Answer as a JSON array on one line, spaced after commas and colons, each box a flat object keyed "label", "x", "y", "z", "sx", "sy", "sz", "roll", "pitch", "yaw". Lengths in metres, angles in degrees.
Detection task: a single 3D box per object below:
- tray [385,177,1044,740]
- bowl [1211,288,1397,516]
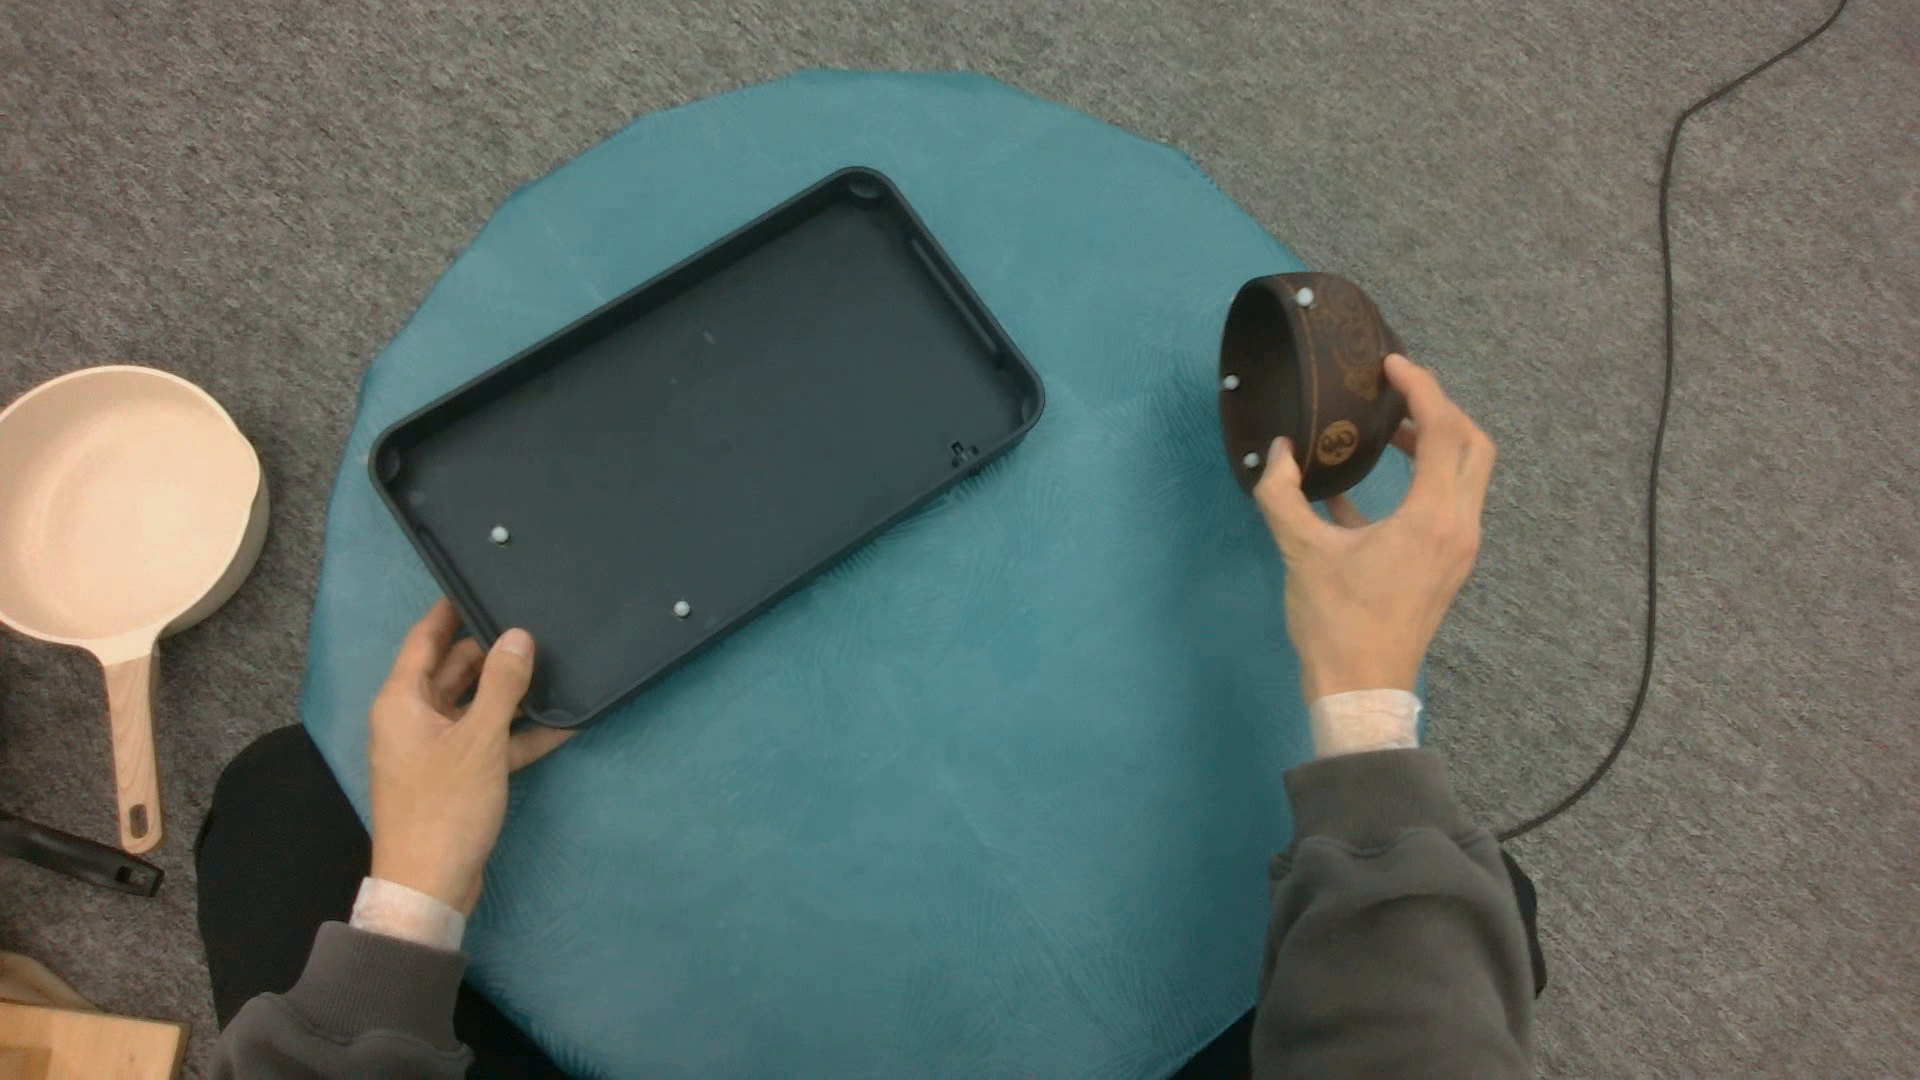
[{"label": "tray", "x": -0.126, "y": -0.049, "z": 0.748, "sx": 0.319, "sy": 0.037, "sz": 0.184, "roll": -36, "pitch": 82, "yaw": -14}, {"label": "bowl", "x": 0.184, "y": -0.074, "z": 0.720, "sx": 0.070, "sy": 0.117, "sz": 0.118, "roll": -7, "pitch": 77, "yaw": -10}]
